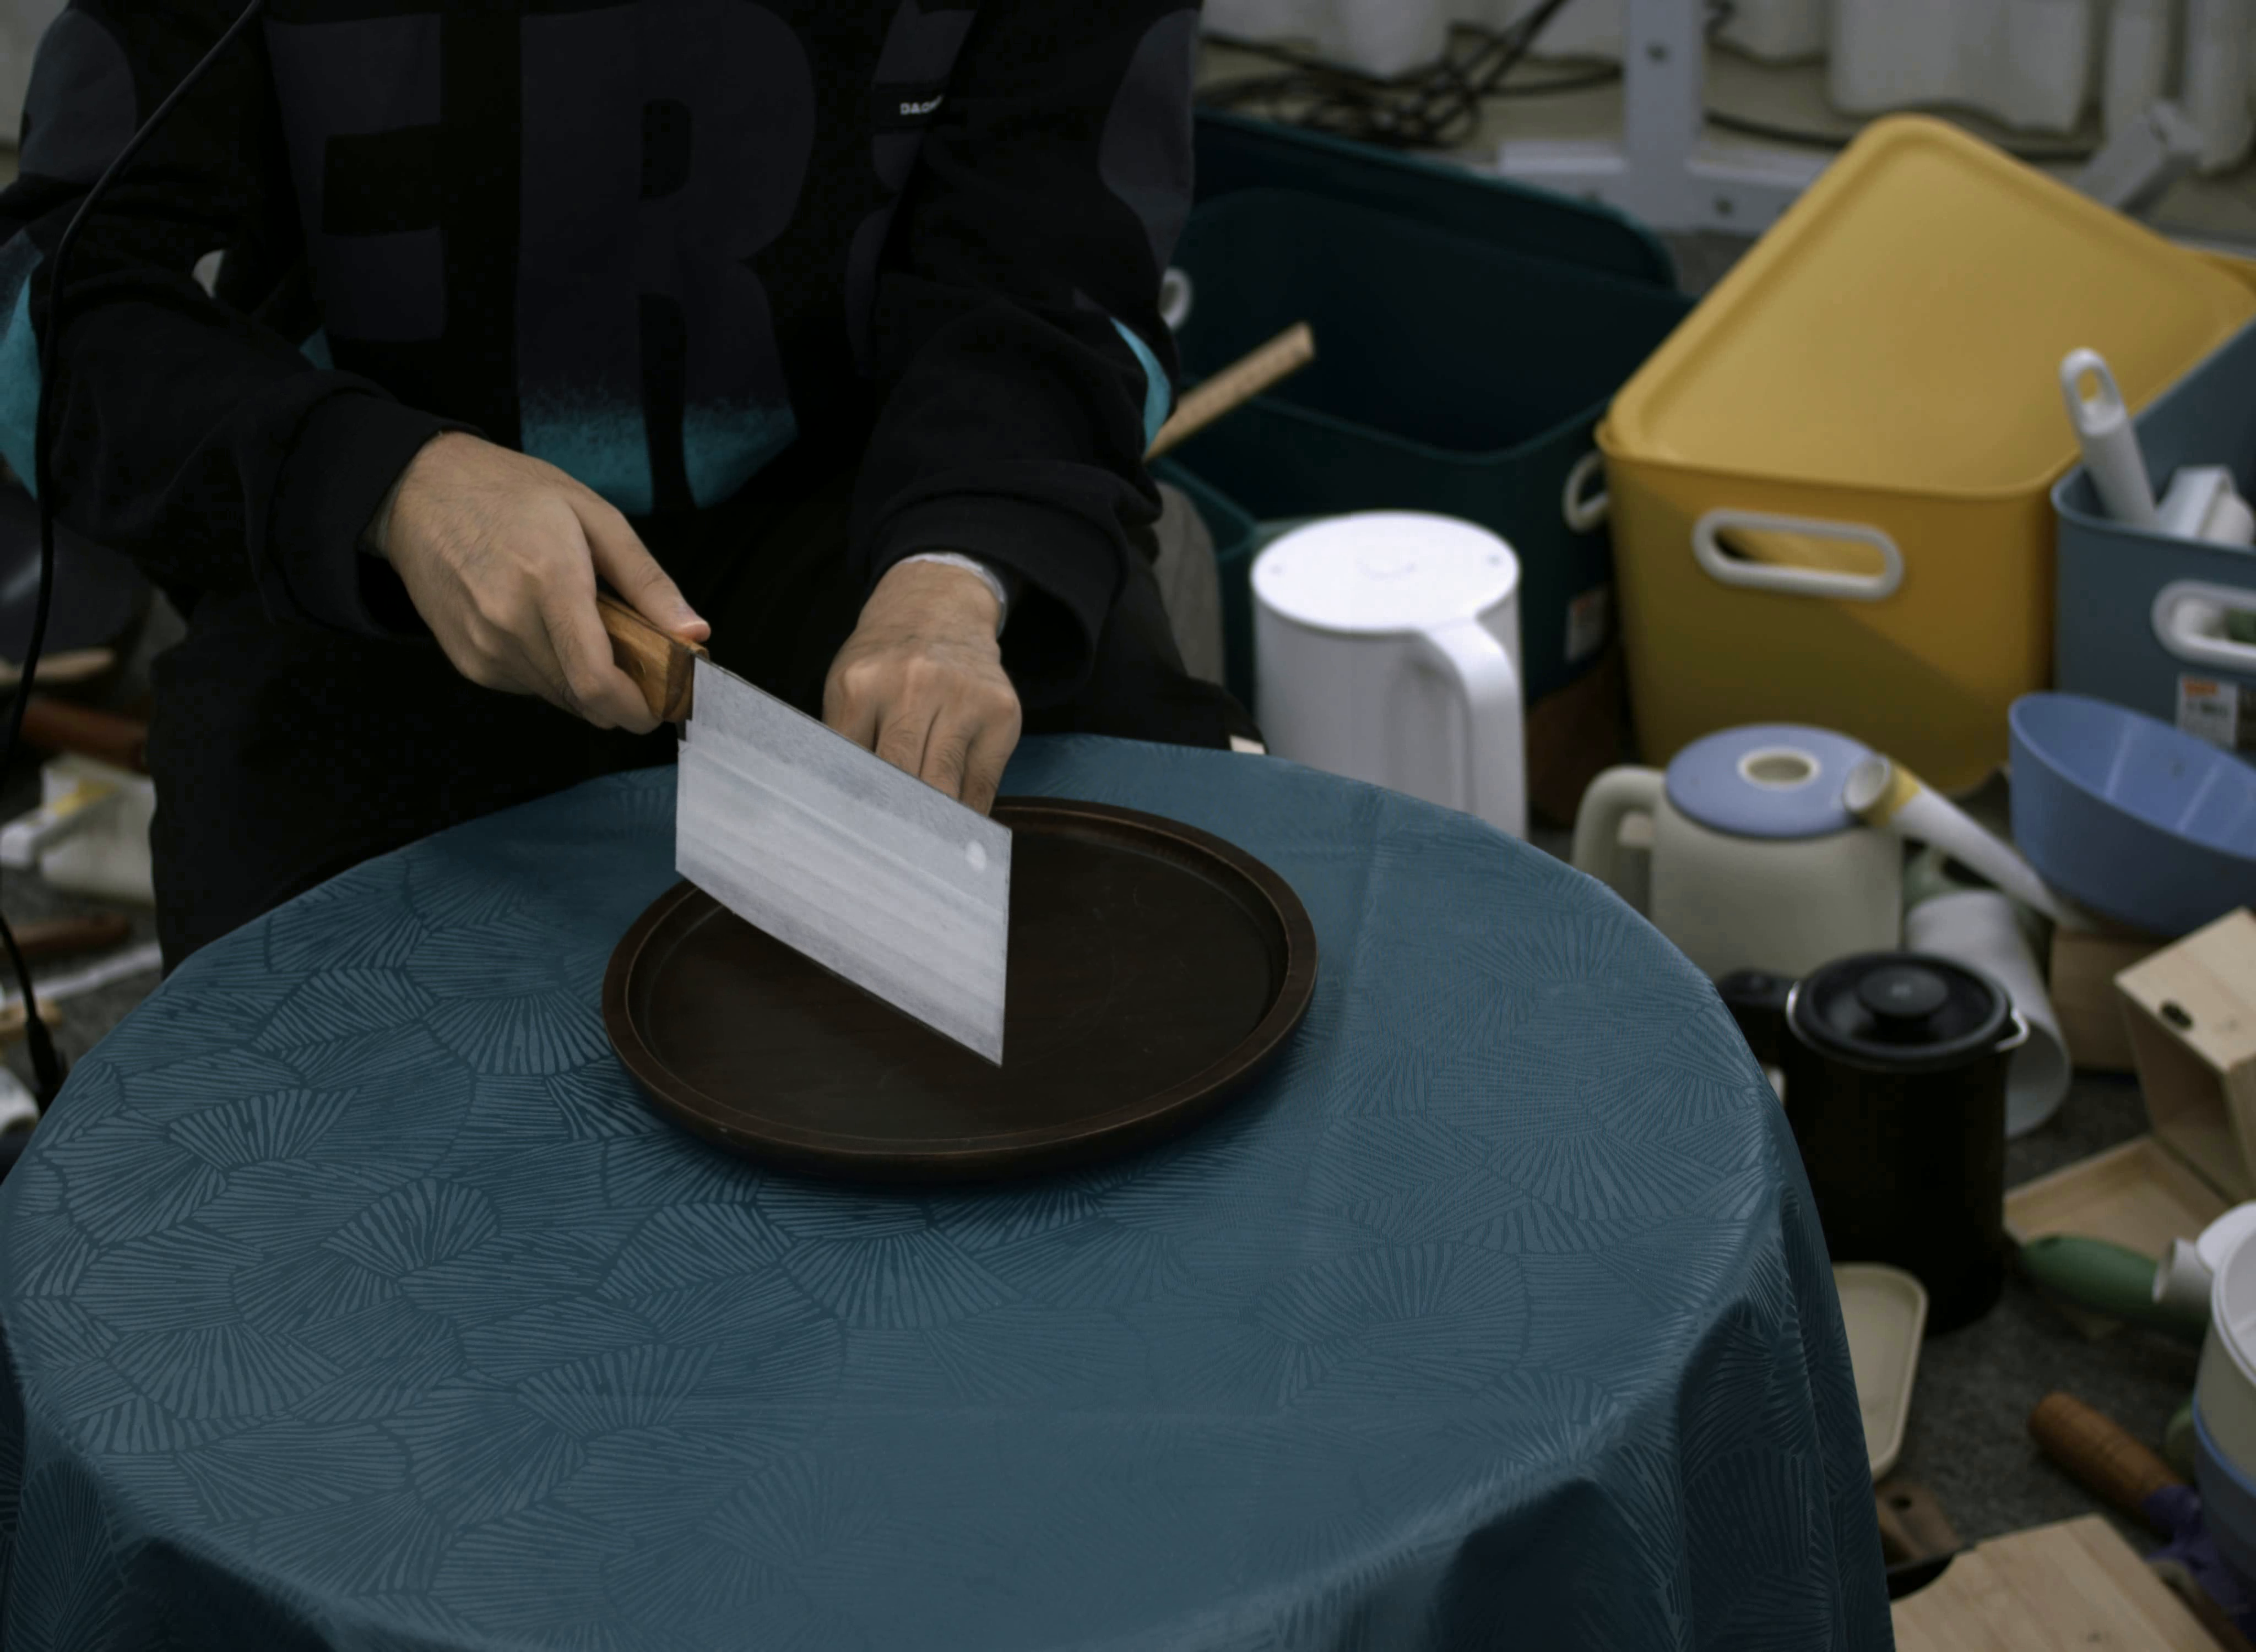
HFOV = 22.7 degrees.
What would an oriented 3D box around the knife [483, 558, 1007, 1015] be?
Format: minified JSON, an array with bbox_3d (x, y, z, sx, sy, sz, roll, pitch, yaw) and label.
[{"bbox_3d":[-0.137,-0.013,1.976,0.021,0.092,0.306,-15,29,-37],"label":"knife"}]

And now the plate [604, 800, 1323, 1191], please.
[{"bbox_3d":[-0.057,0.057,1.965,0.253,0.029,0.258,-1,27,1],"label":"plate"}]
